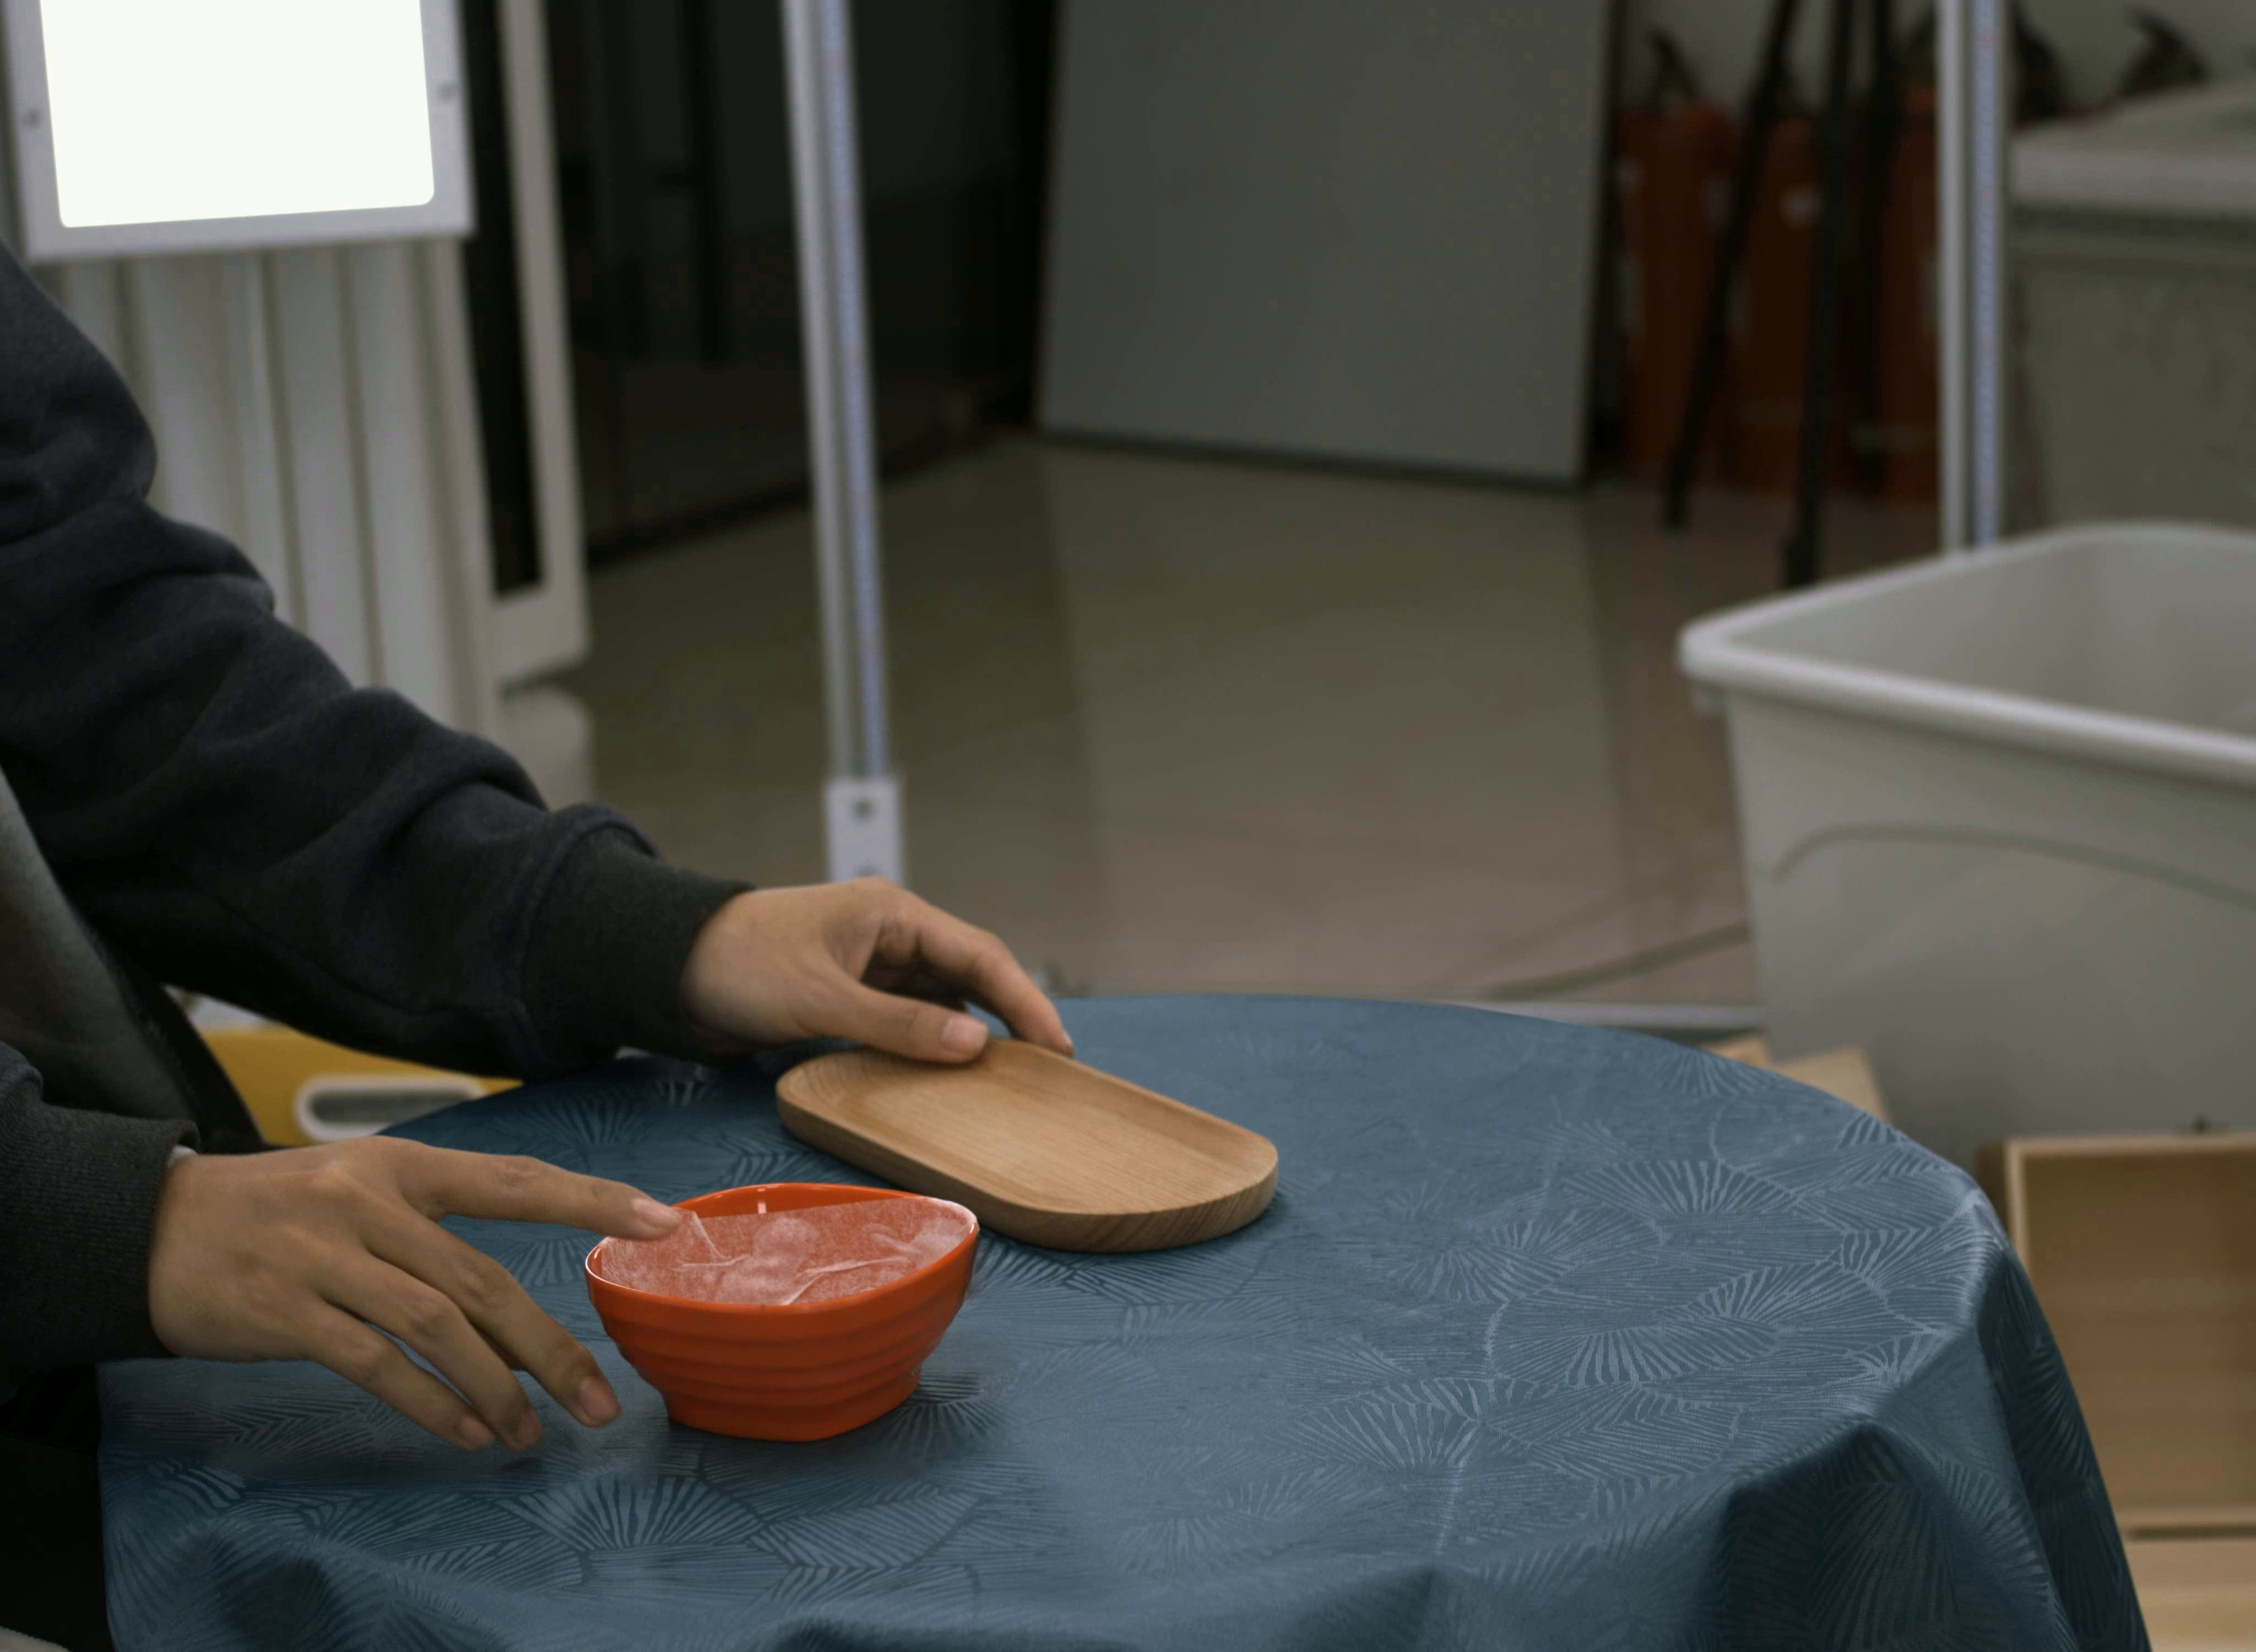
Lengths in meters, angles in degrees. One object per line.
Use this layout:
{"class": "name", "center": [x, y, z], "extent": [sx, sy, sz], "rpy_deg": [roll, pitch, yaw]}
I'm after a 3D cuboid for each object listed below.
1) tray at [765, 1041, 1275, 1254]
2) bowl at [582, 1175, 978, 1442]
{"class": "tray", "center": [-0.038, 0.106, 1.807], "extent": [0.099, 0.020, 0.233], "rpy_deg": [-12, 15, -32]}
{"class": "bowl", "center": [-0.100, 0.144, 1.590], "extent": [0.117, 0.052, 0.119], "rpy_deg": [-4, 15, 0]}
